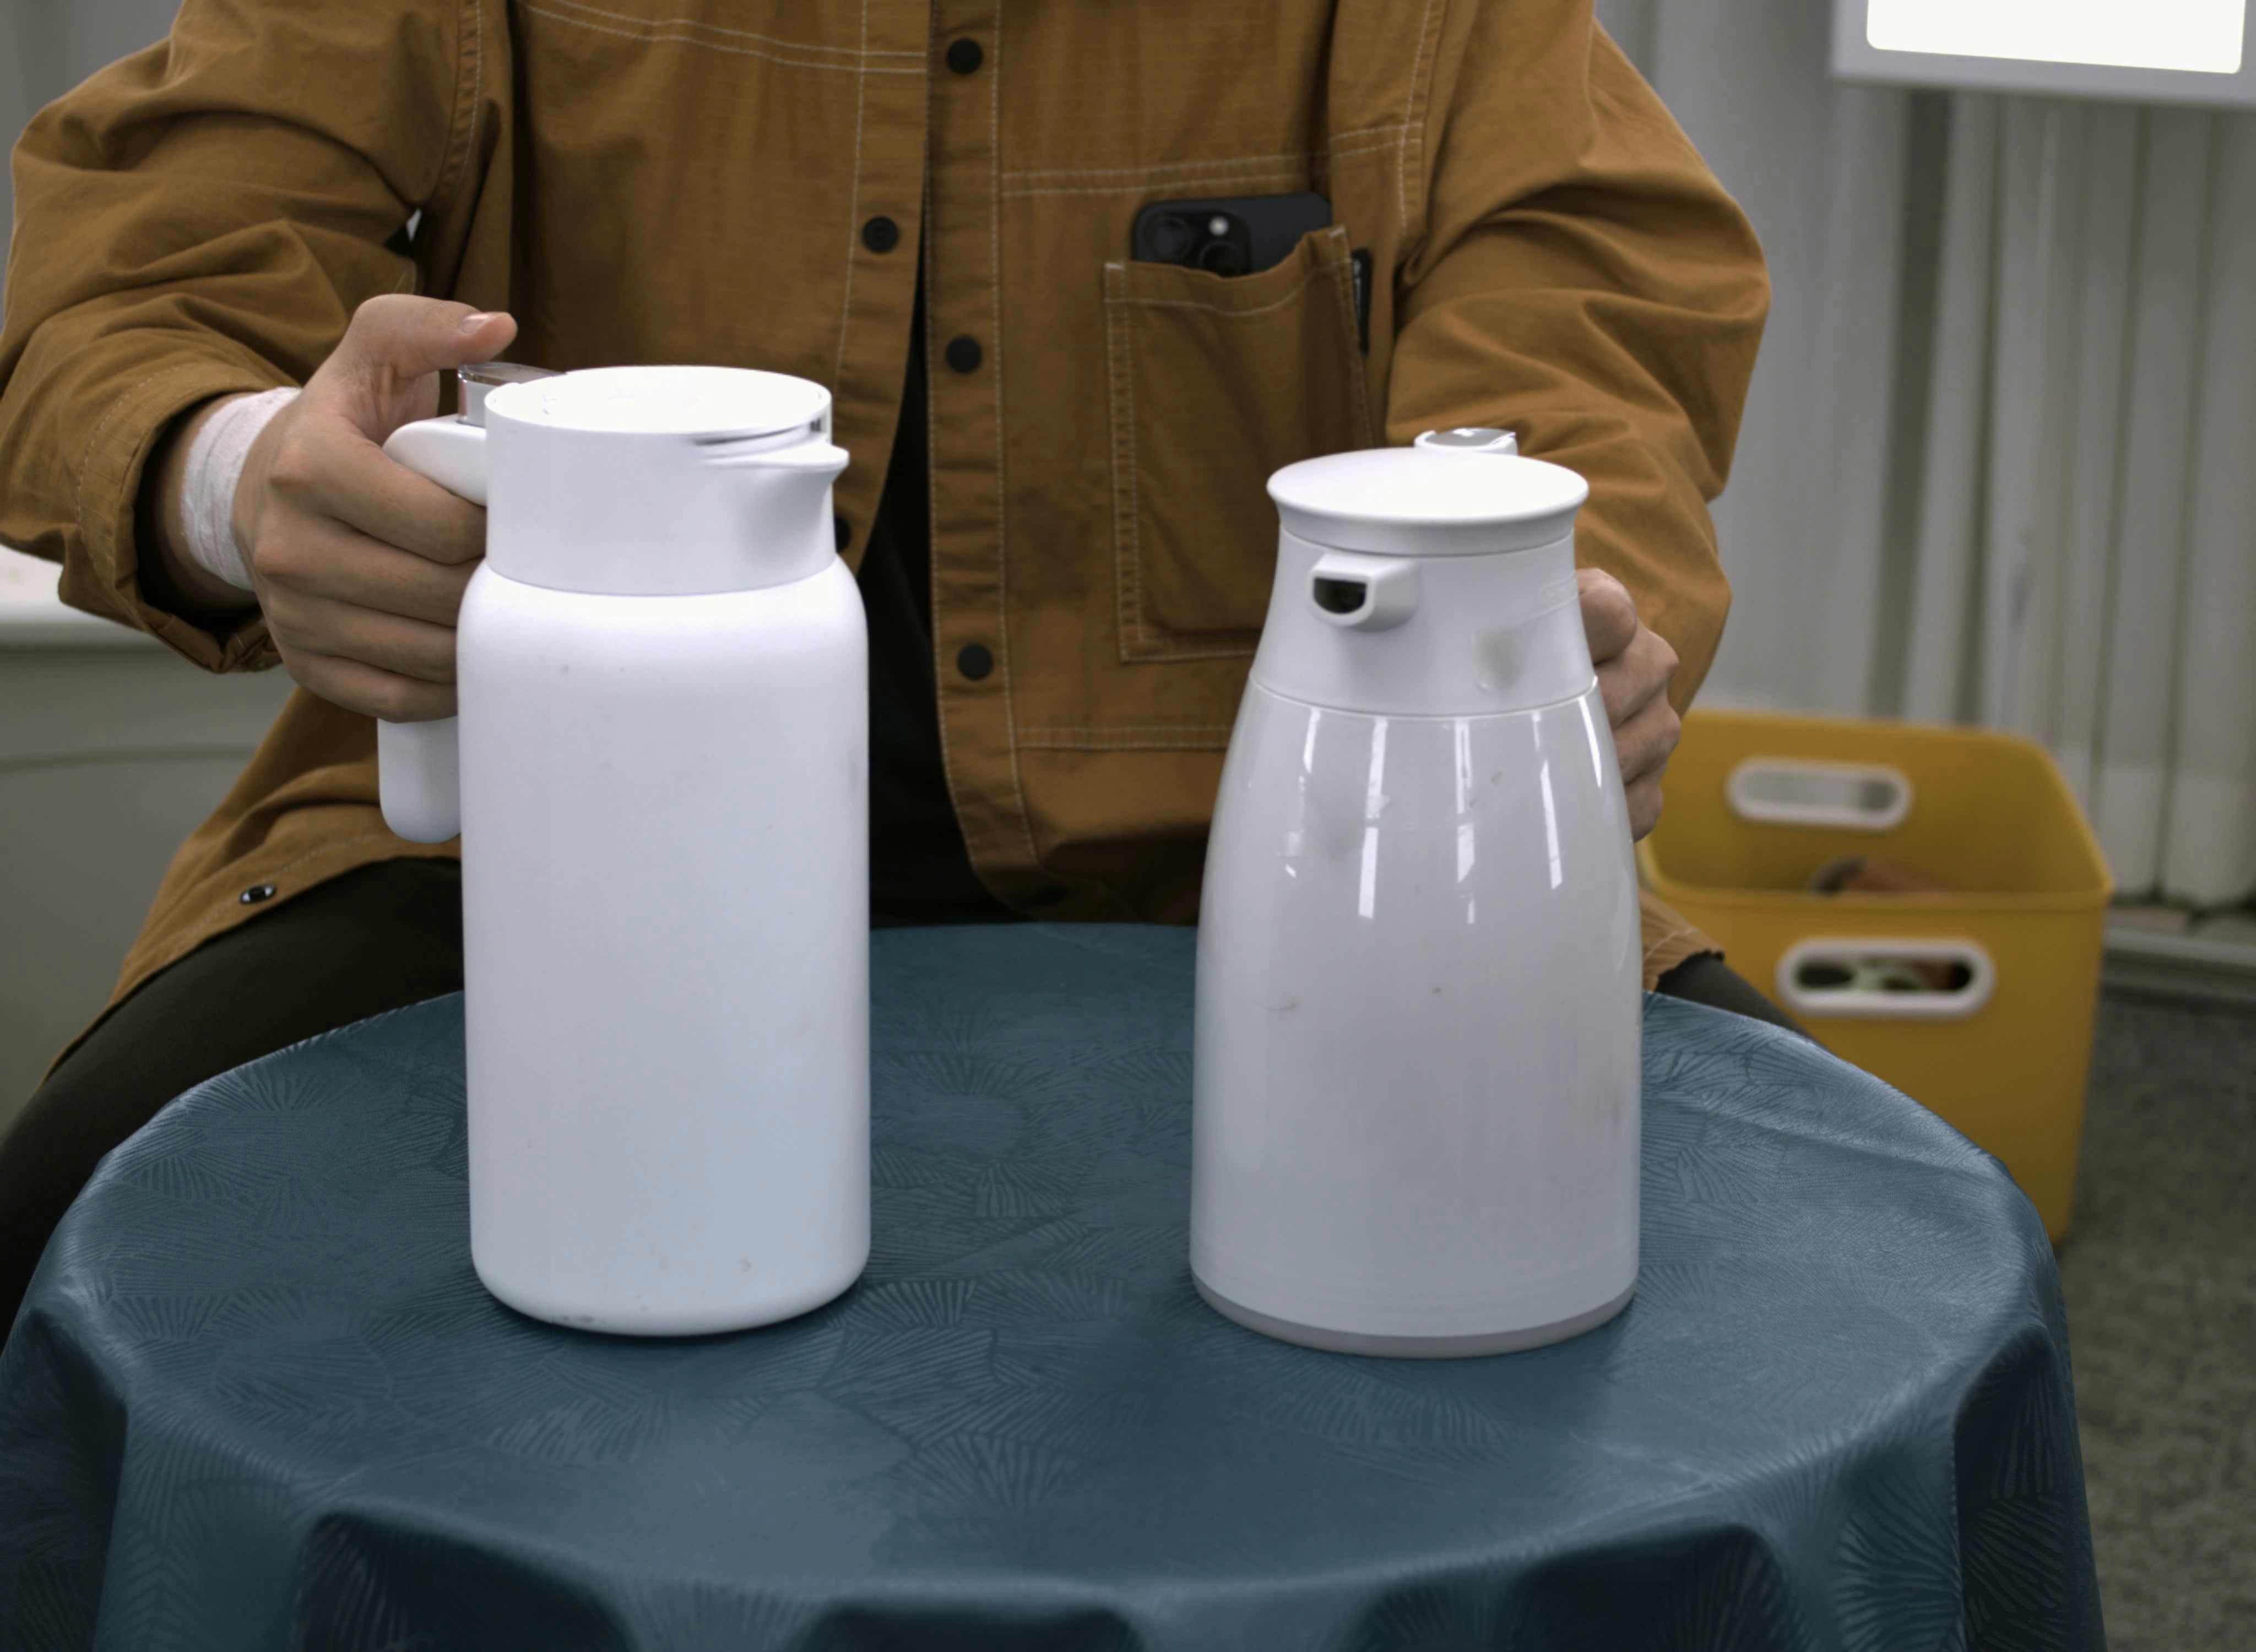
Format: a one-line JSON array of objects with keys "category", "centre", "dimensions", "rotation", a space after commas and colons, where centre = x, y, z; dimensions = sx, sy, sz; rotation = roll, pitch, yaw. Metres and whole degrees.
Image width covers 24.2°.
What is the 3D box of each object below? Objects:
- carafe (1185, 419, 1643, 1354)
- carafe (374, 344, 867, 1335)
[{"category": "carafe", "centre": [0.091, 0.009, 1.532], "dimensions": [0.131, 0.250, 0.168], "rotation": [7, 17, 23]}, {"category": "carafe", "centre": [-0.148, 0.001, 1.516], "dimensions": [0.170, 0.271, 0.124], "rotation": [13, 22, 36]}]
